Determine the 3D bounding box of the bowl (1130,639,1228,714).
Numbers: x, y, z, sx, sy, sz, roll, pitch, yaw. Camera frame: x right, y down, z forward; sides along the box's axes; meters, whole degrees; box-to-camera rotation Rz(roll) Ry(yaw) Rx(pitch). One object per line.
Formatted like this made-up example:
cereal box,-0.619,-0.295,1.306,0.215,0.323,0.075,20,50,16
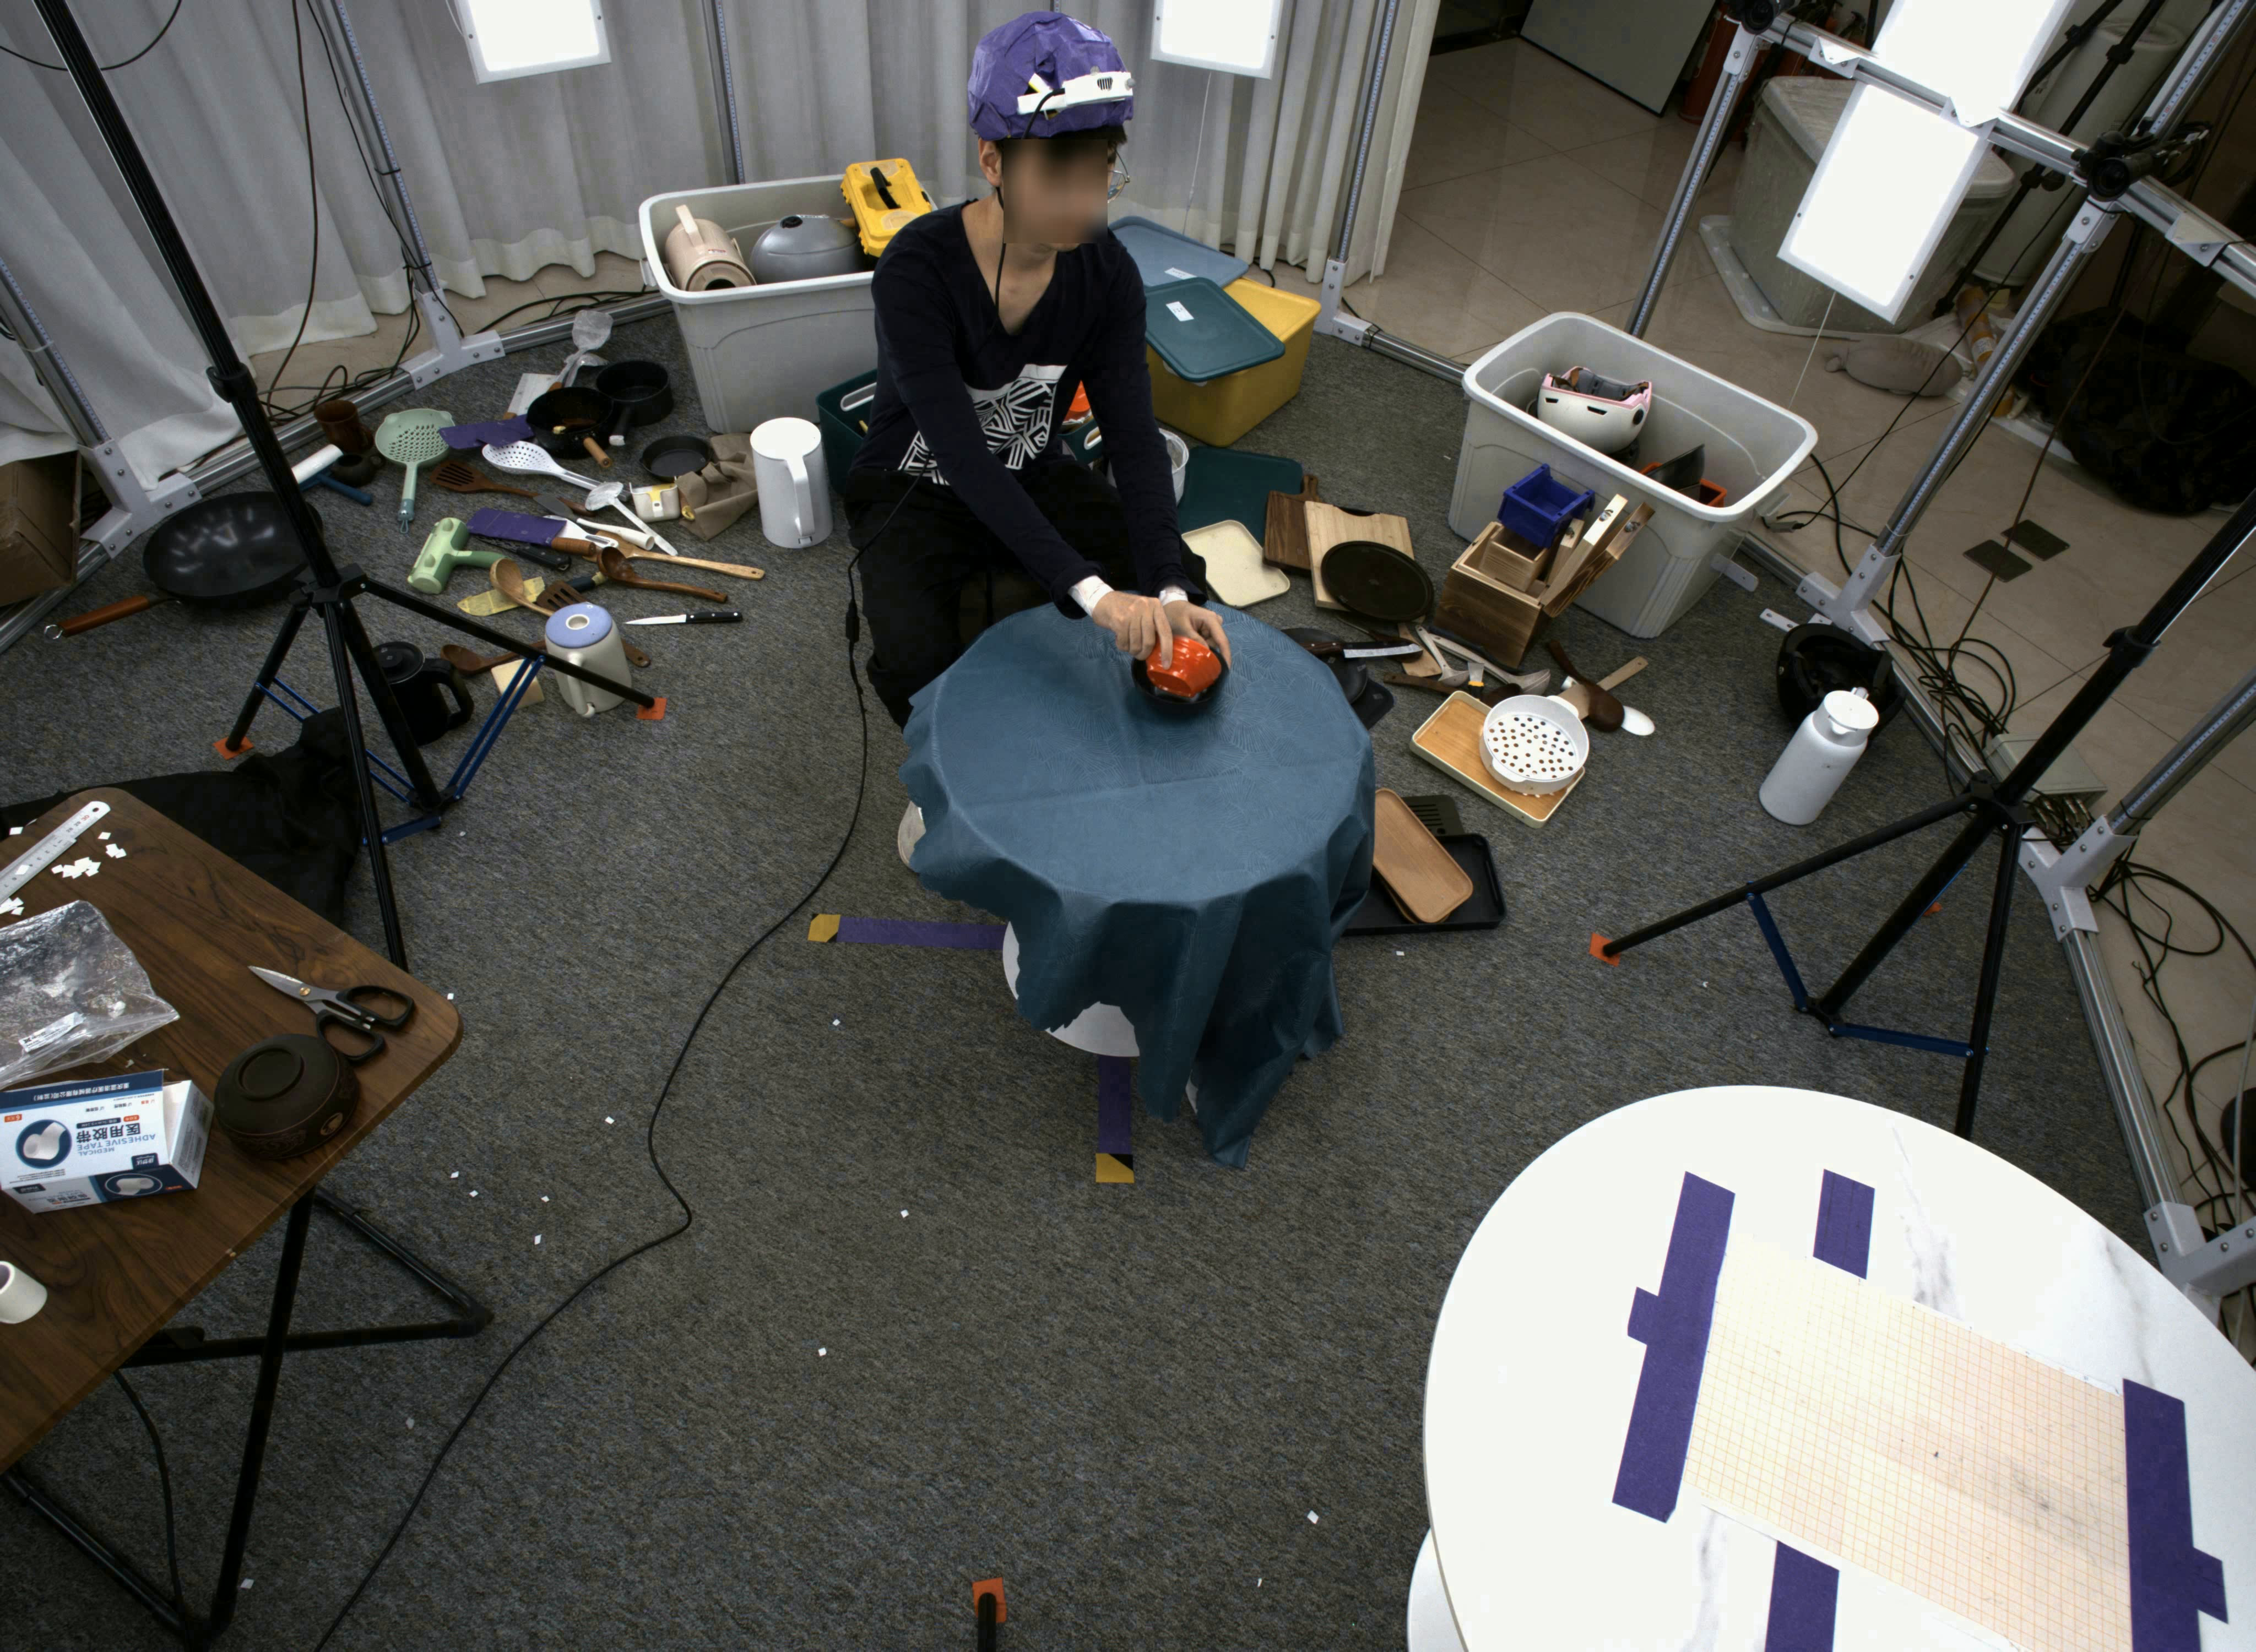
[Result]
bowl,0.071,-0.203,1.819,0.140,0.048,0.143,1,45,-2

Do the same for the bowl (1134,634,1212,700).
bowl,0.053,-0.213,1.755,0.120,0.117,0.051,25,83,15
